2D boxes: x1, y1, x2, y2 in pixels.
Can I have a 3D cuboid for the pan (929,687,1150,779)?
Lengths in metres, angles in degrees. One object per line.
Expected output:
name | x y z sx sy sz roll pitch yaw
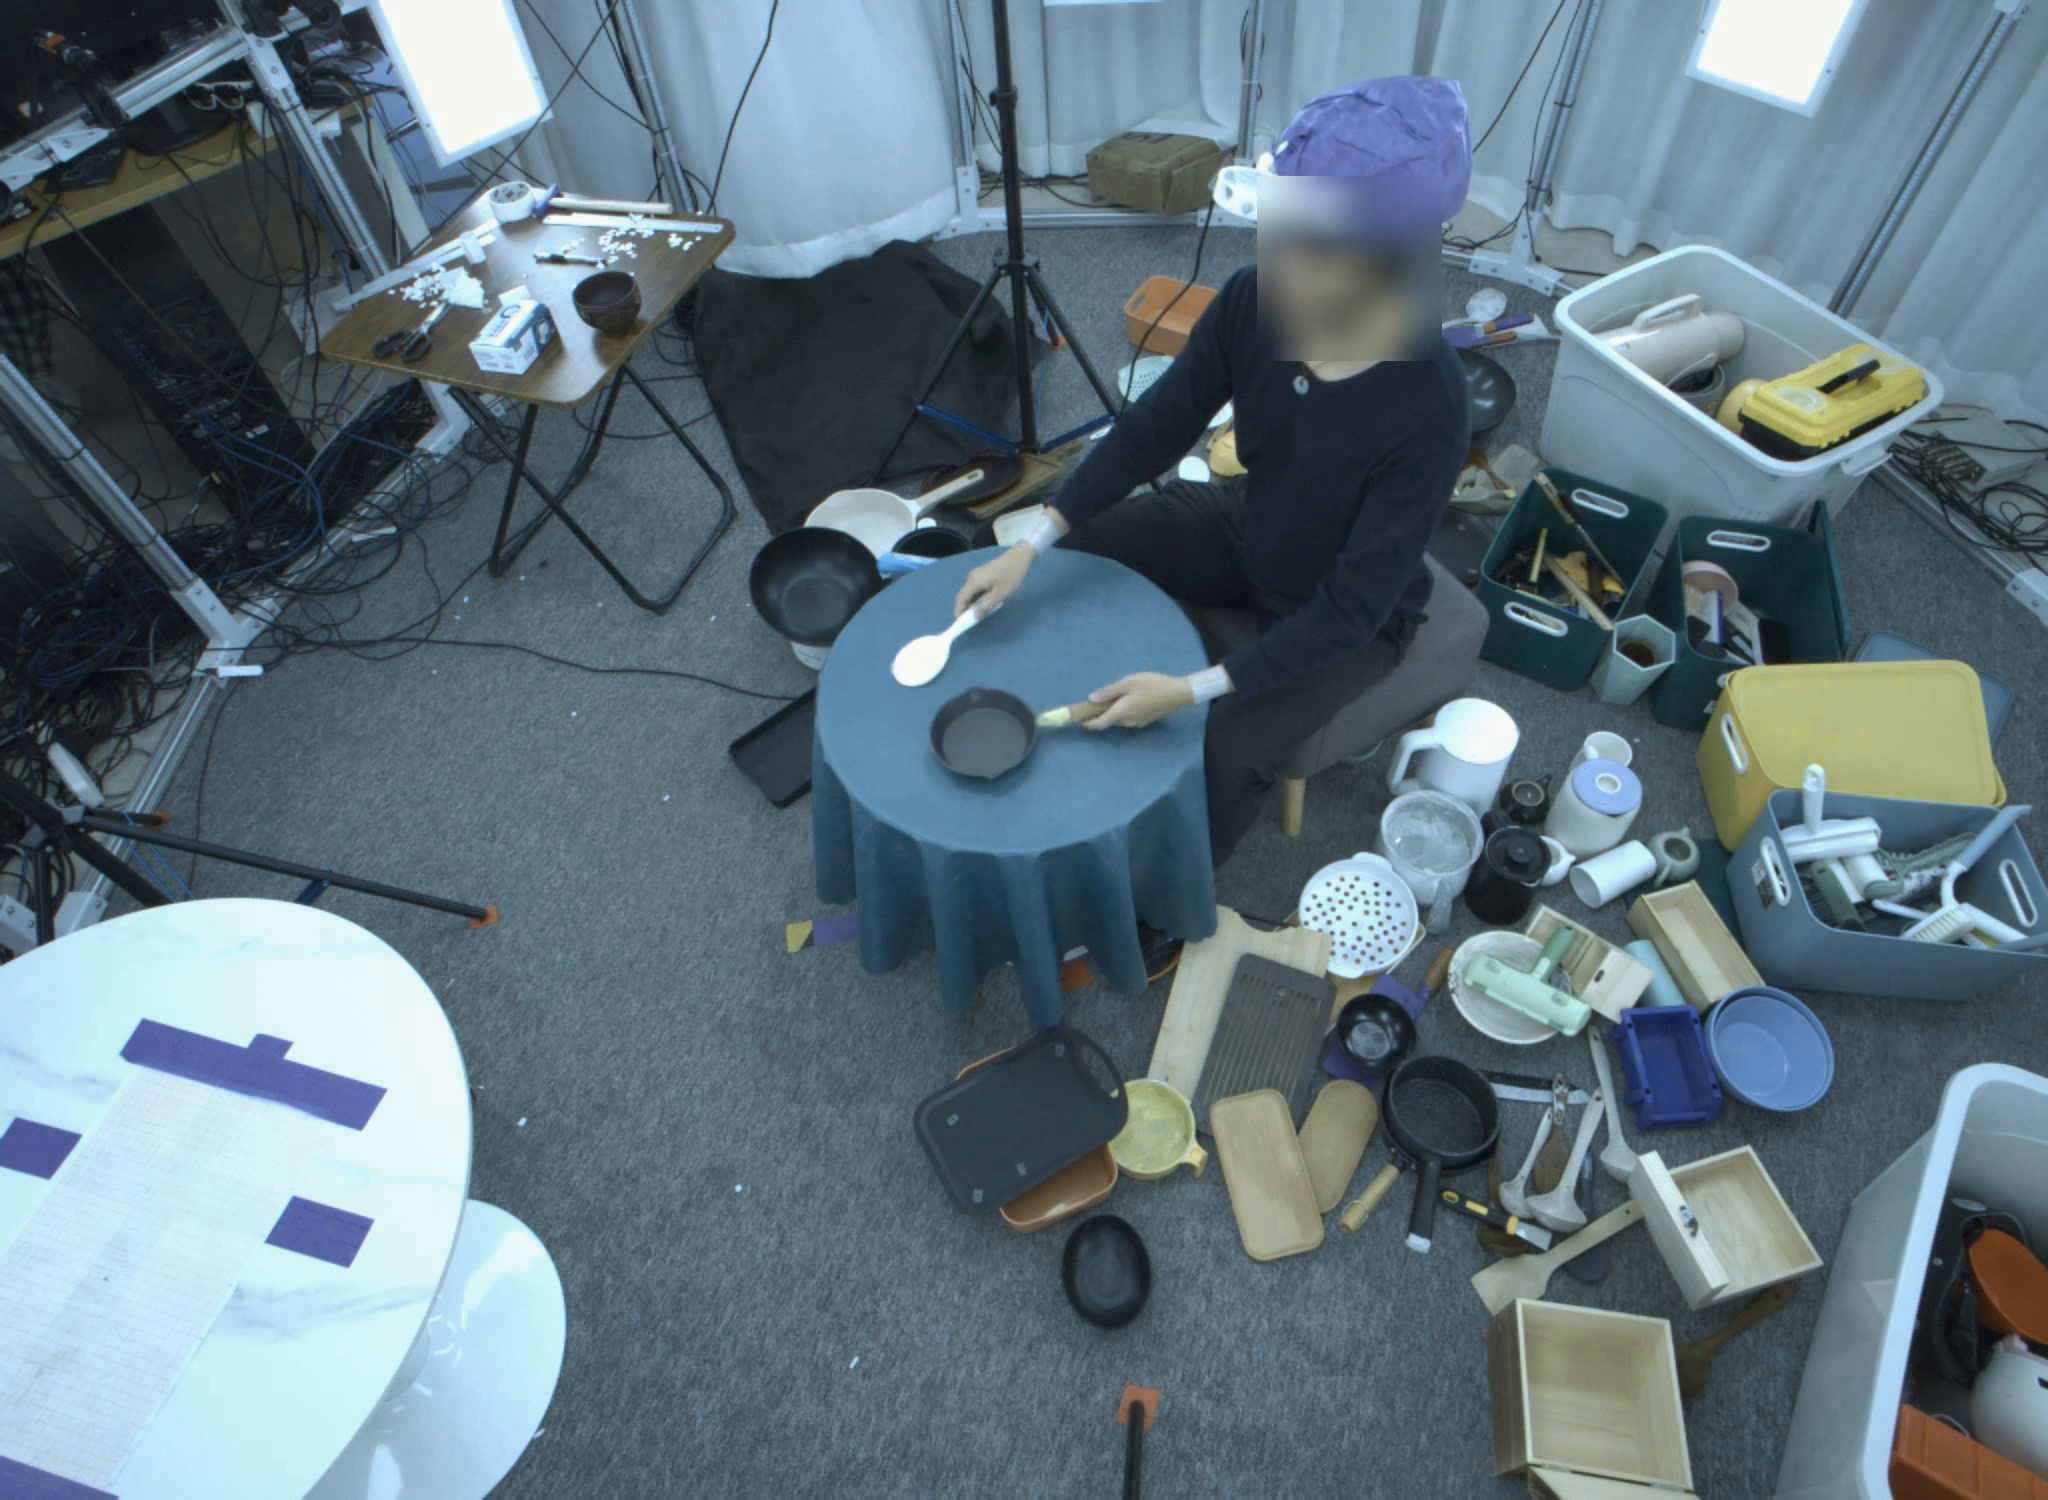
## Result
pan | 0.025 -0.038 1.782 0.325 0.050 0.166 -10 55 -3

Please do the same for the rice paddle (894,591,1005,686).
rice paddle | -0.116 -0.171 1.880 0.206 0.030 0.067 -40 66 -11
